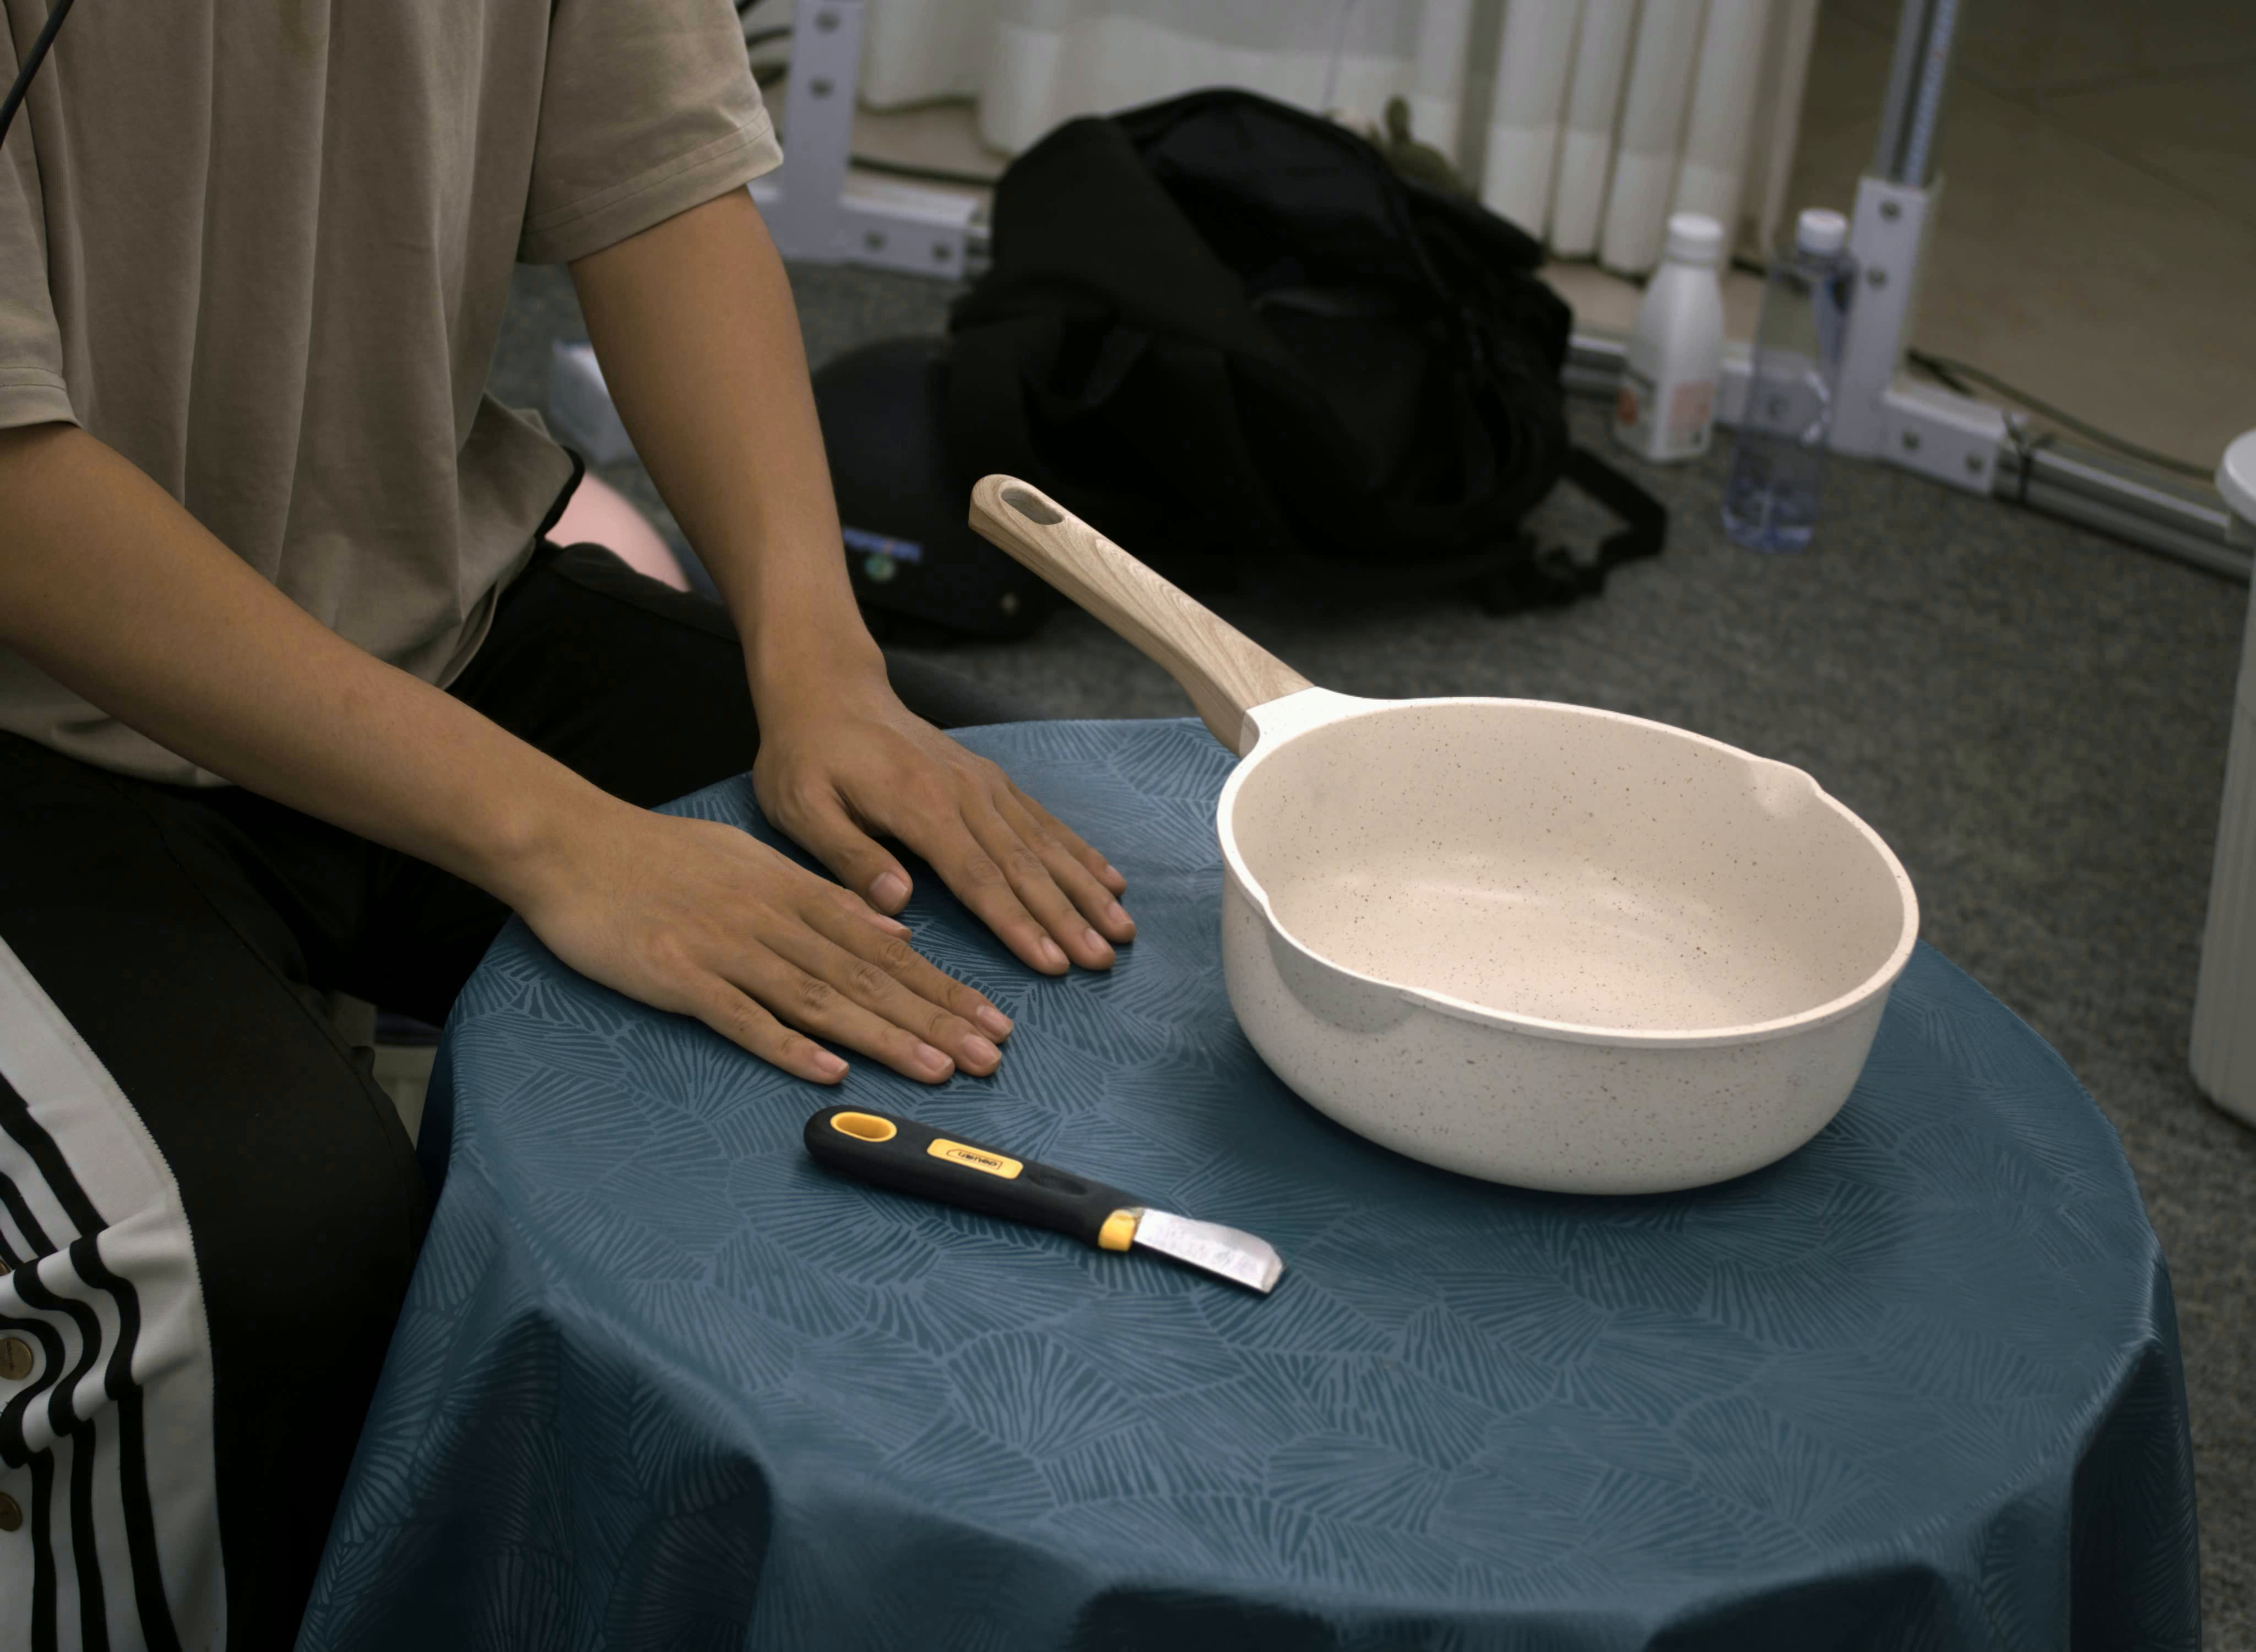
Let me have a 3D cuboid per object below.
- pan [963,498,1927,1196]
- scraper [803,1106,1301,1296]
[{"bbox_3d":[0.092,0.003,1.959,0.262,0.101,0.438,-22,39,-39],"label":"pan"},{"bbox_3d":[-0.028,0.125,1.778,0.171,0.015,0.039,15,34,10],"label":"scraper"}]
